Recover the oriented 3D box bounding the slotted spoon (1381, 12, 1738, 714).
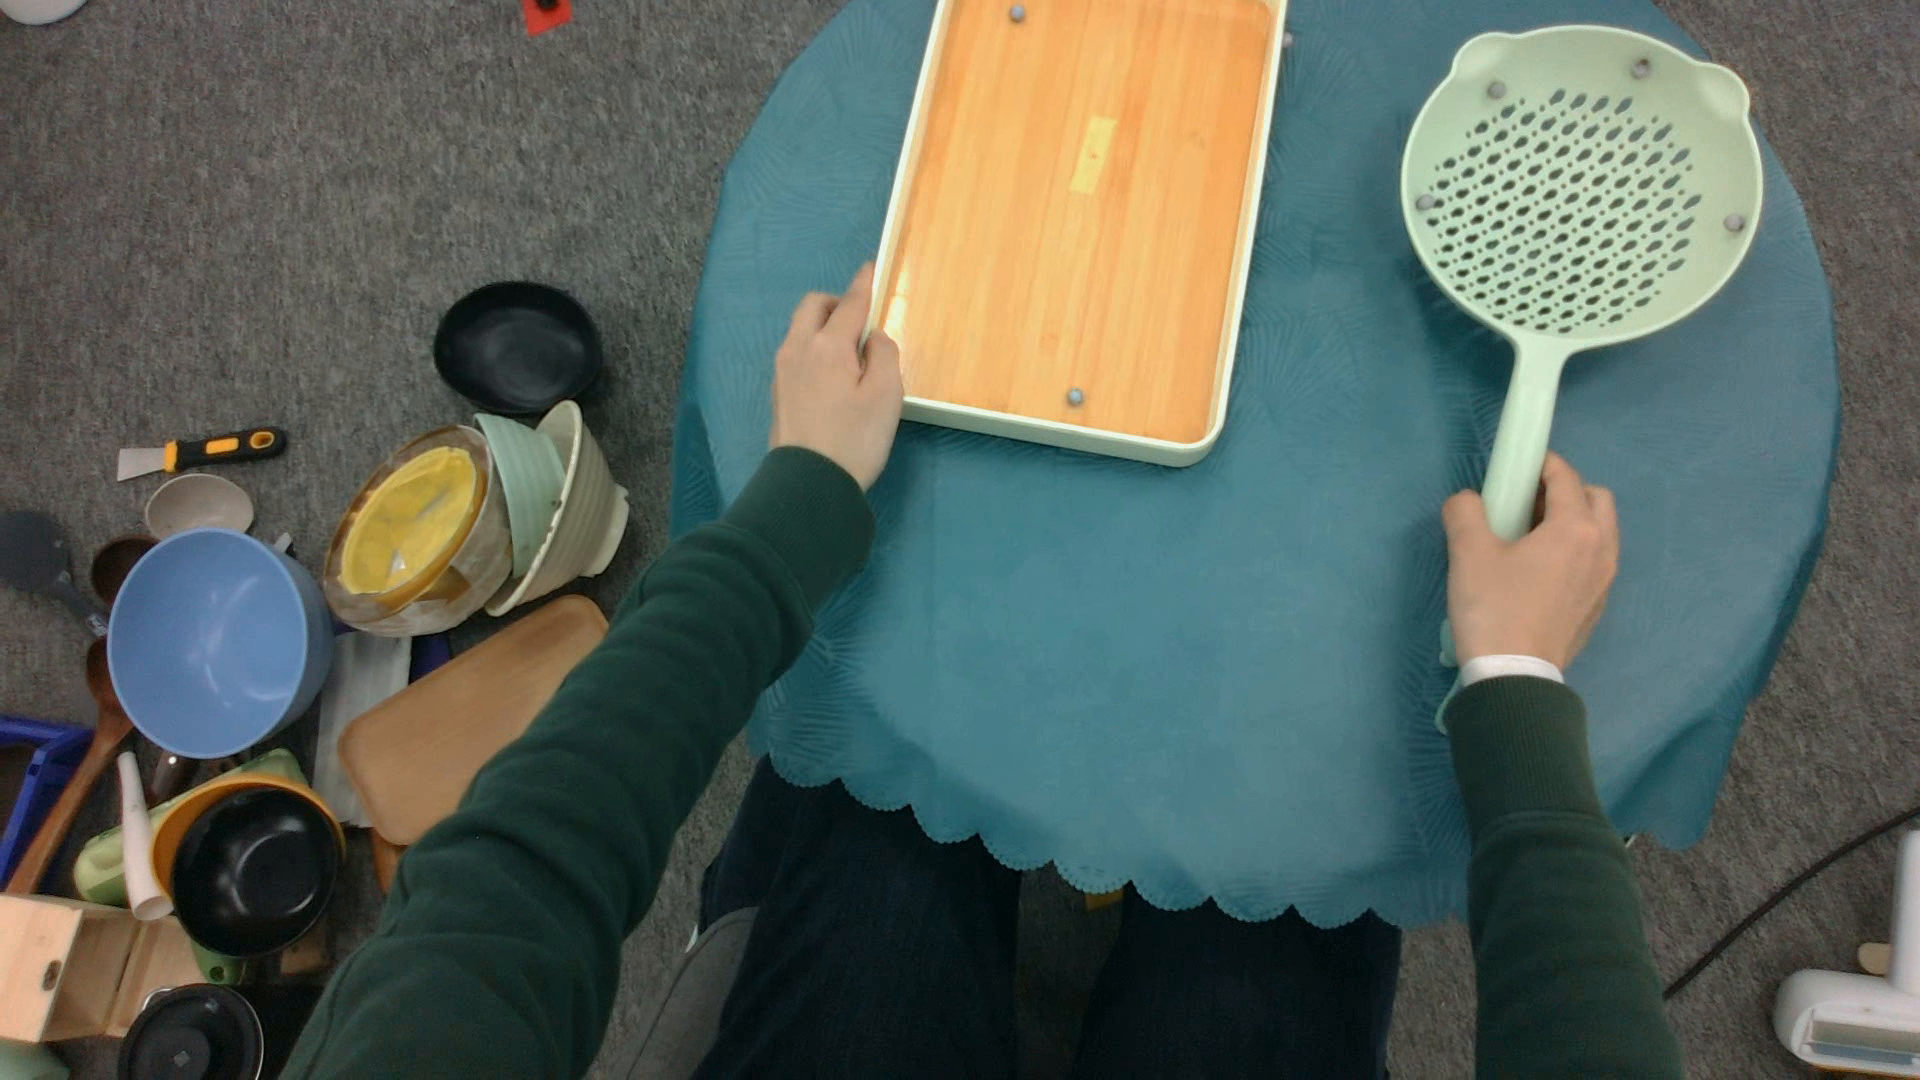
[{"bbox_3d":[0.275,-0.092,0.683,0.169,0.075,0.360,13,73,13],"label":"slotted spoon"}]

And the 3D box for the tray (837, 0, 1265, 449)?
[{"bbox_3d":[0.055,-0.202,0.745,0.191,0.027,0.301,10,71,3],"label":"tray"}]
